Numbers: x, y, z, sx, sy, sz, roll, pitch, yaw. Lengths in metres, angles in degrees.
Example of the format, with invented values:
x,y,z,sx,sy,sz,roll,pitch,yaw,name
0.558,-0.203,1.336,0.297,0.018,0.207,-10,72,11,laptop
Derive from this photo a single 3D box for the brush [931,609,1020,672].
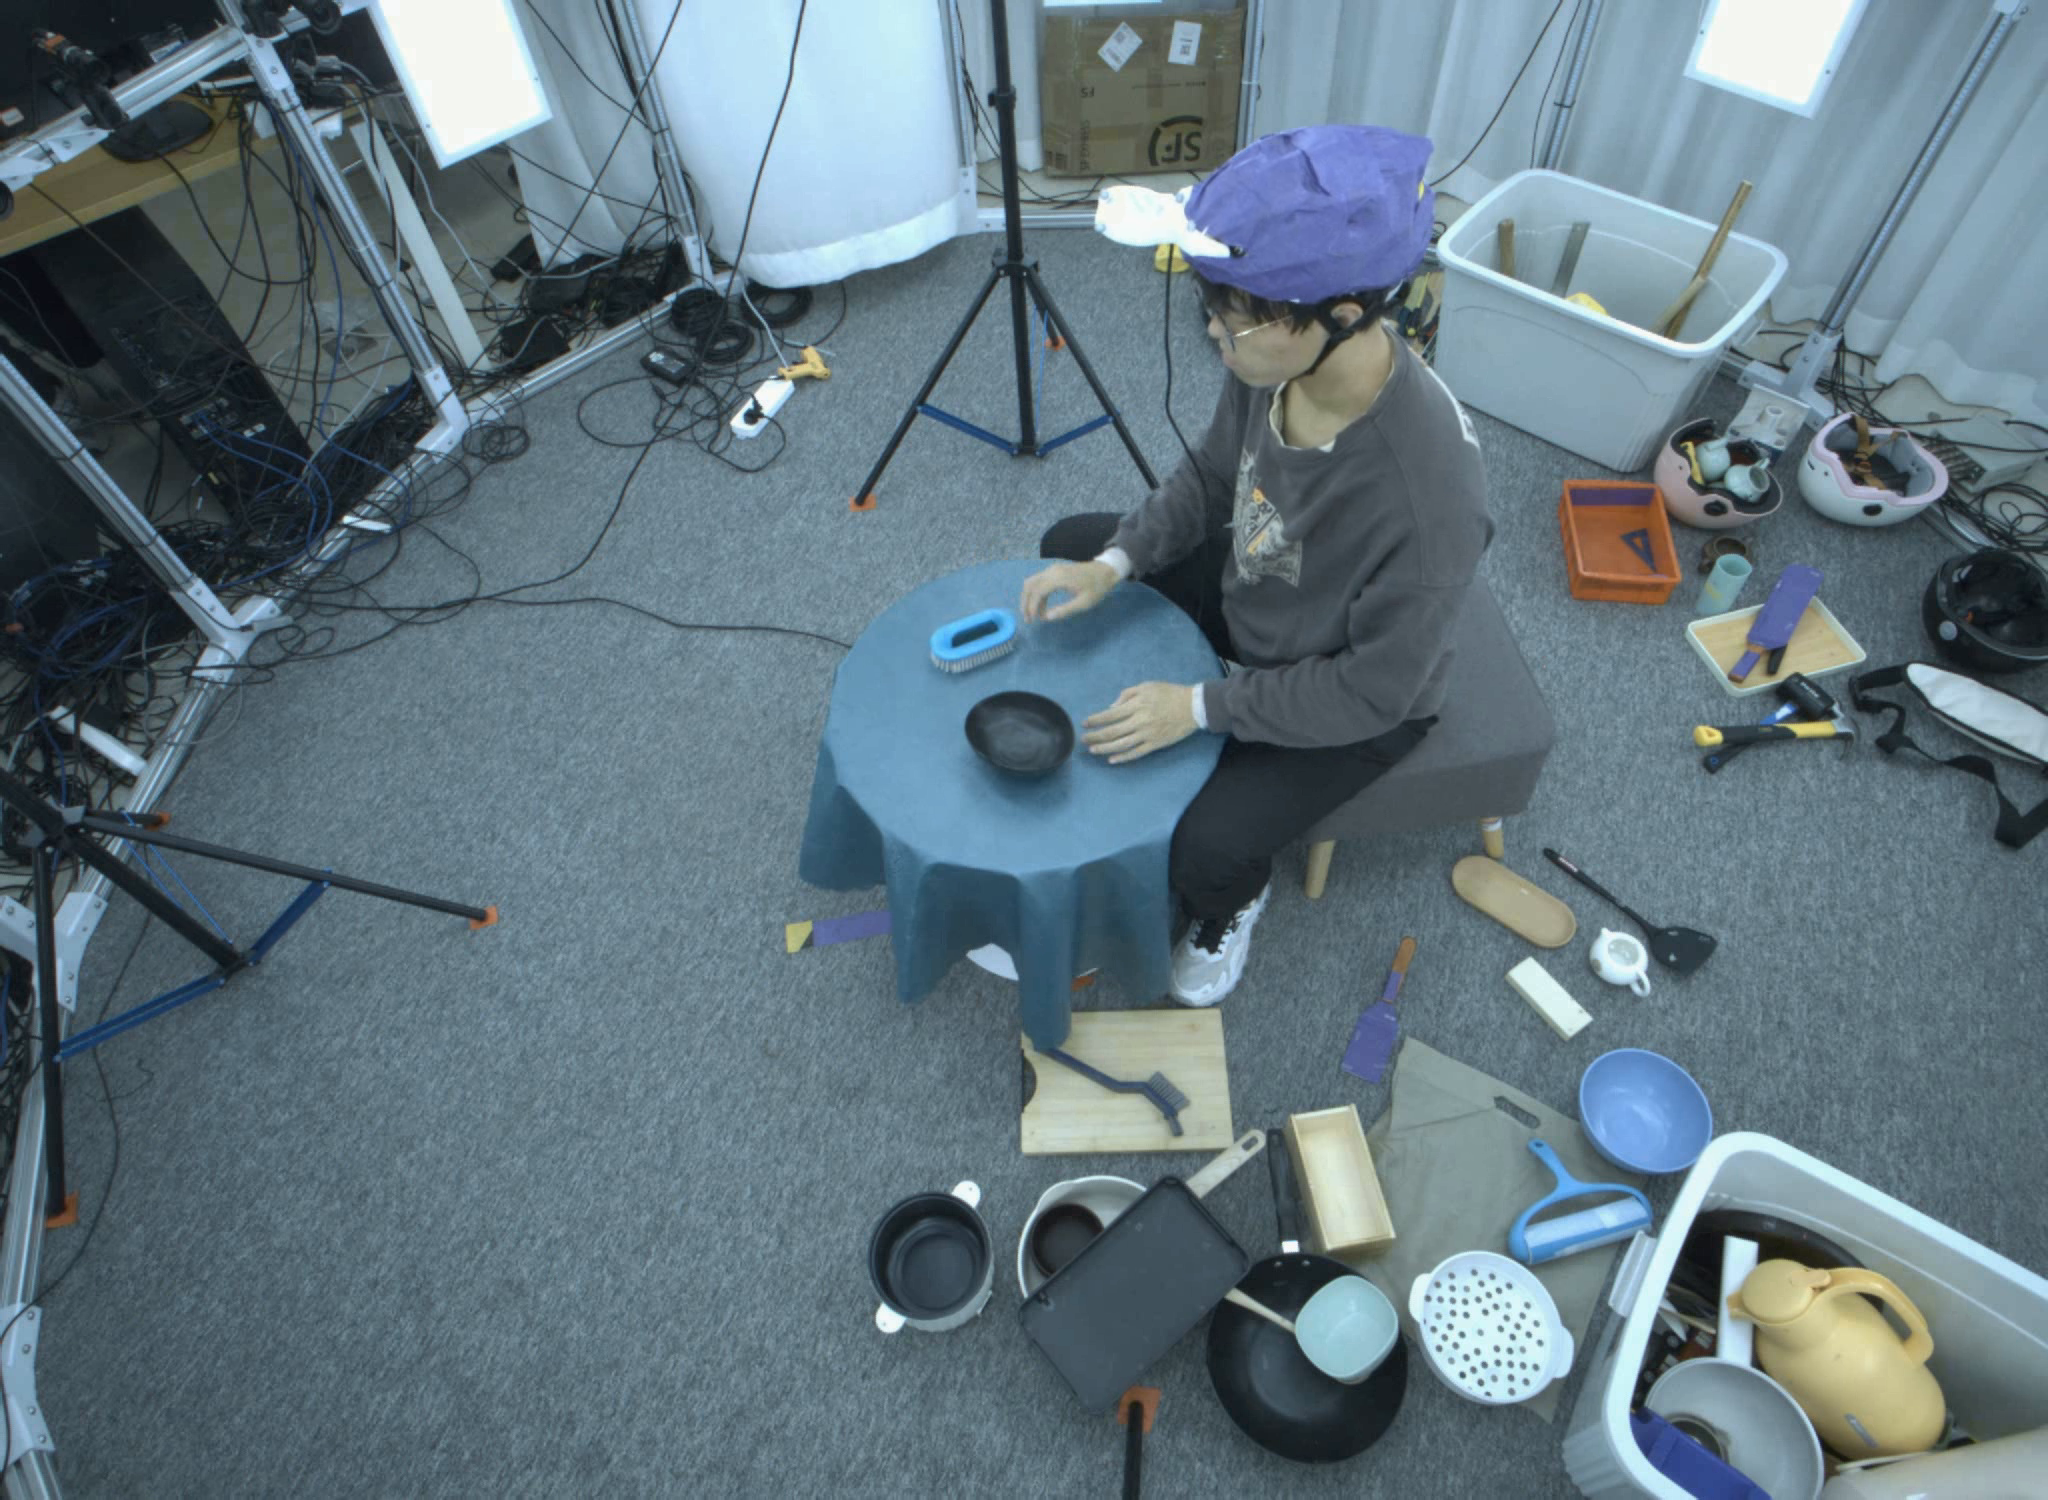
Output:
x,y,z,sx,sy,sz,roll,pitch,yaw,name
-0.077,-0.179,1.875,0.143,0.064,0.082,-20,51,-13,brush

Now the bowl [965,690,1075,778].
x,y,z,sx,sy,sz,roll,pitch,yaw,name
-0.006,-0.013,1.755,0.167,0.067,0.138,27,59,22,bowl
